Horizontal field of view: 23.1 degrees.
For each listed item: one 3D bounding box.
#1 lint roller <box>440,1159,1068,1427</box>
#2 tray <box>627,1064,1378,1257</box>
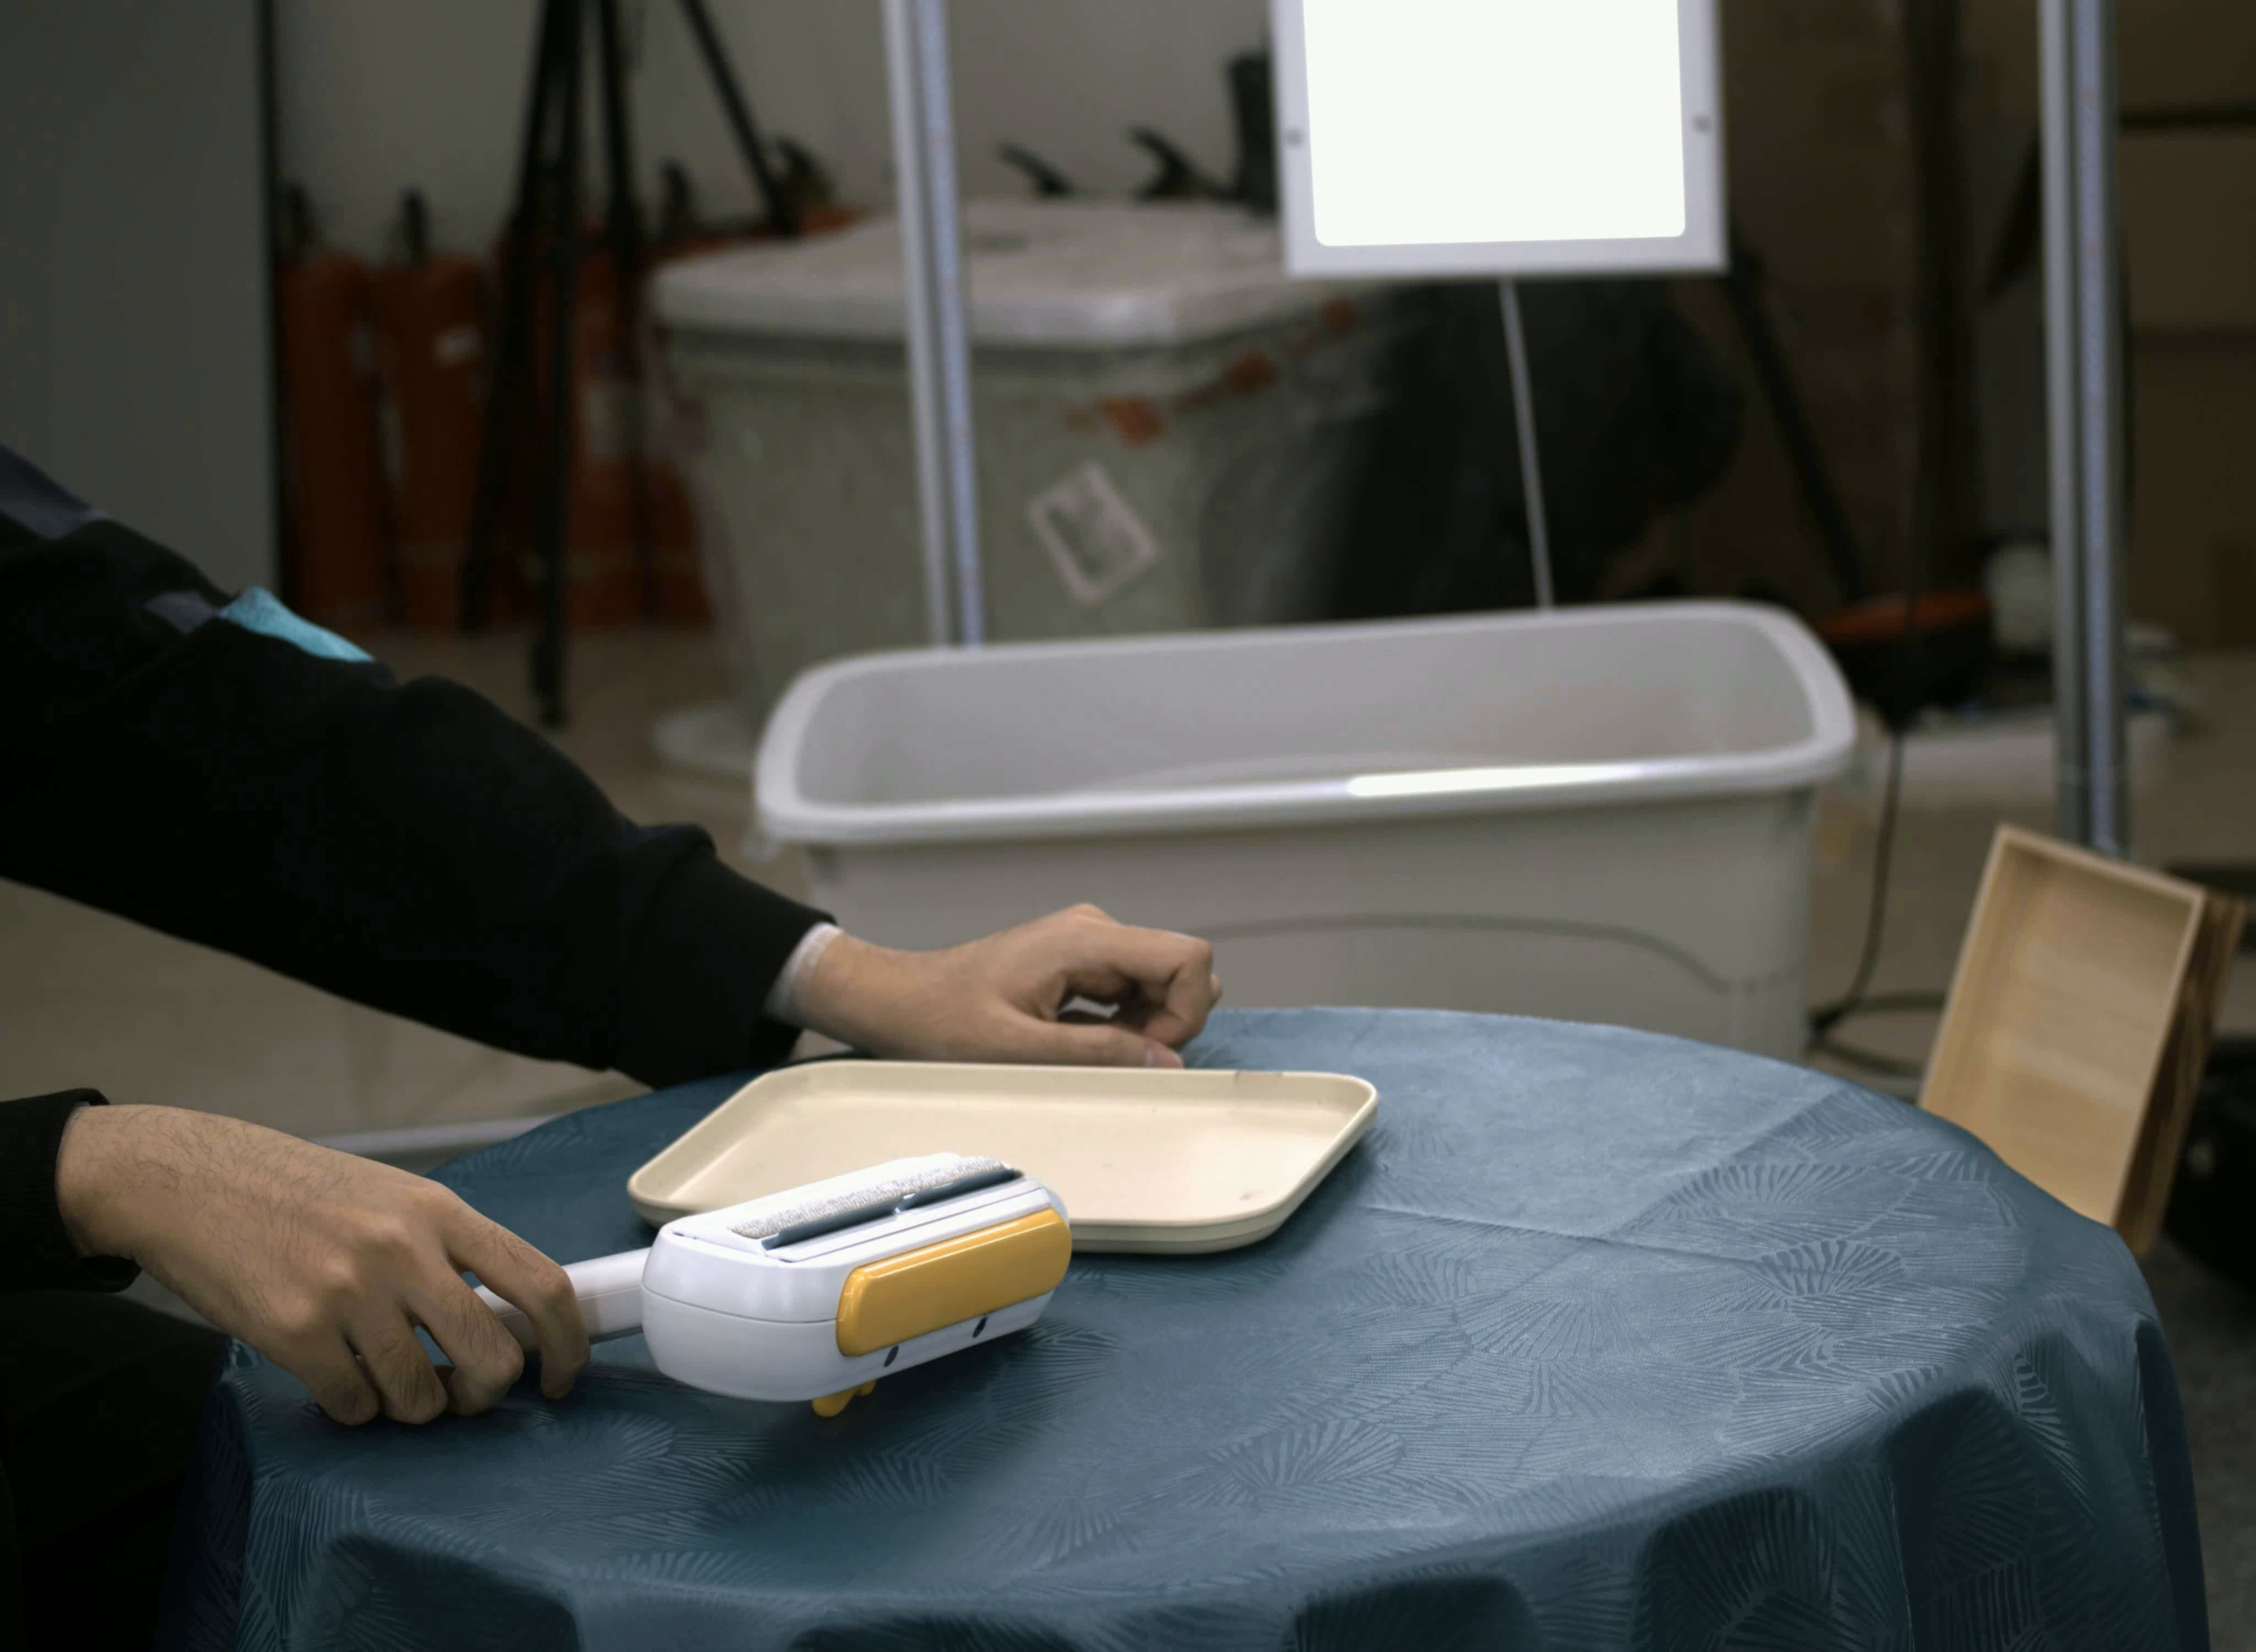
[{"bbox_3d":[-0.136,0.145,1.730,0.196,0.074,0.188,2,10,32],"label":"lint roller"},{"bbox_3d":[-0.042,0.116,1.917,0.243,0.017,0.168,0,15,21],"label":"tray"}]
